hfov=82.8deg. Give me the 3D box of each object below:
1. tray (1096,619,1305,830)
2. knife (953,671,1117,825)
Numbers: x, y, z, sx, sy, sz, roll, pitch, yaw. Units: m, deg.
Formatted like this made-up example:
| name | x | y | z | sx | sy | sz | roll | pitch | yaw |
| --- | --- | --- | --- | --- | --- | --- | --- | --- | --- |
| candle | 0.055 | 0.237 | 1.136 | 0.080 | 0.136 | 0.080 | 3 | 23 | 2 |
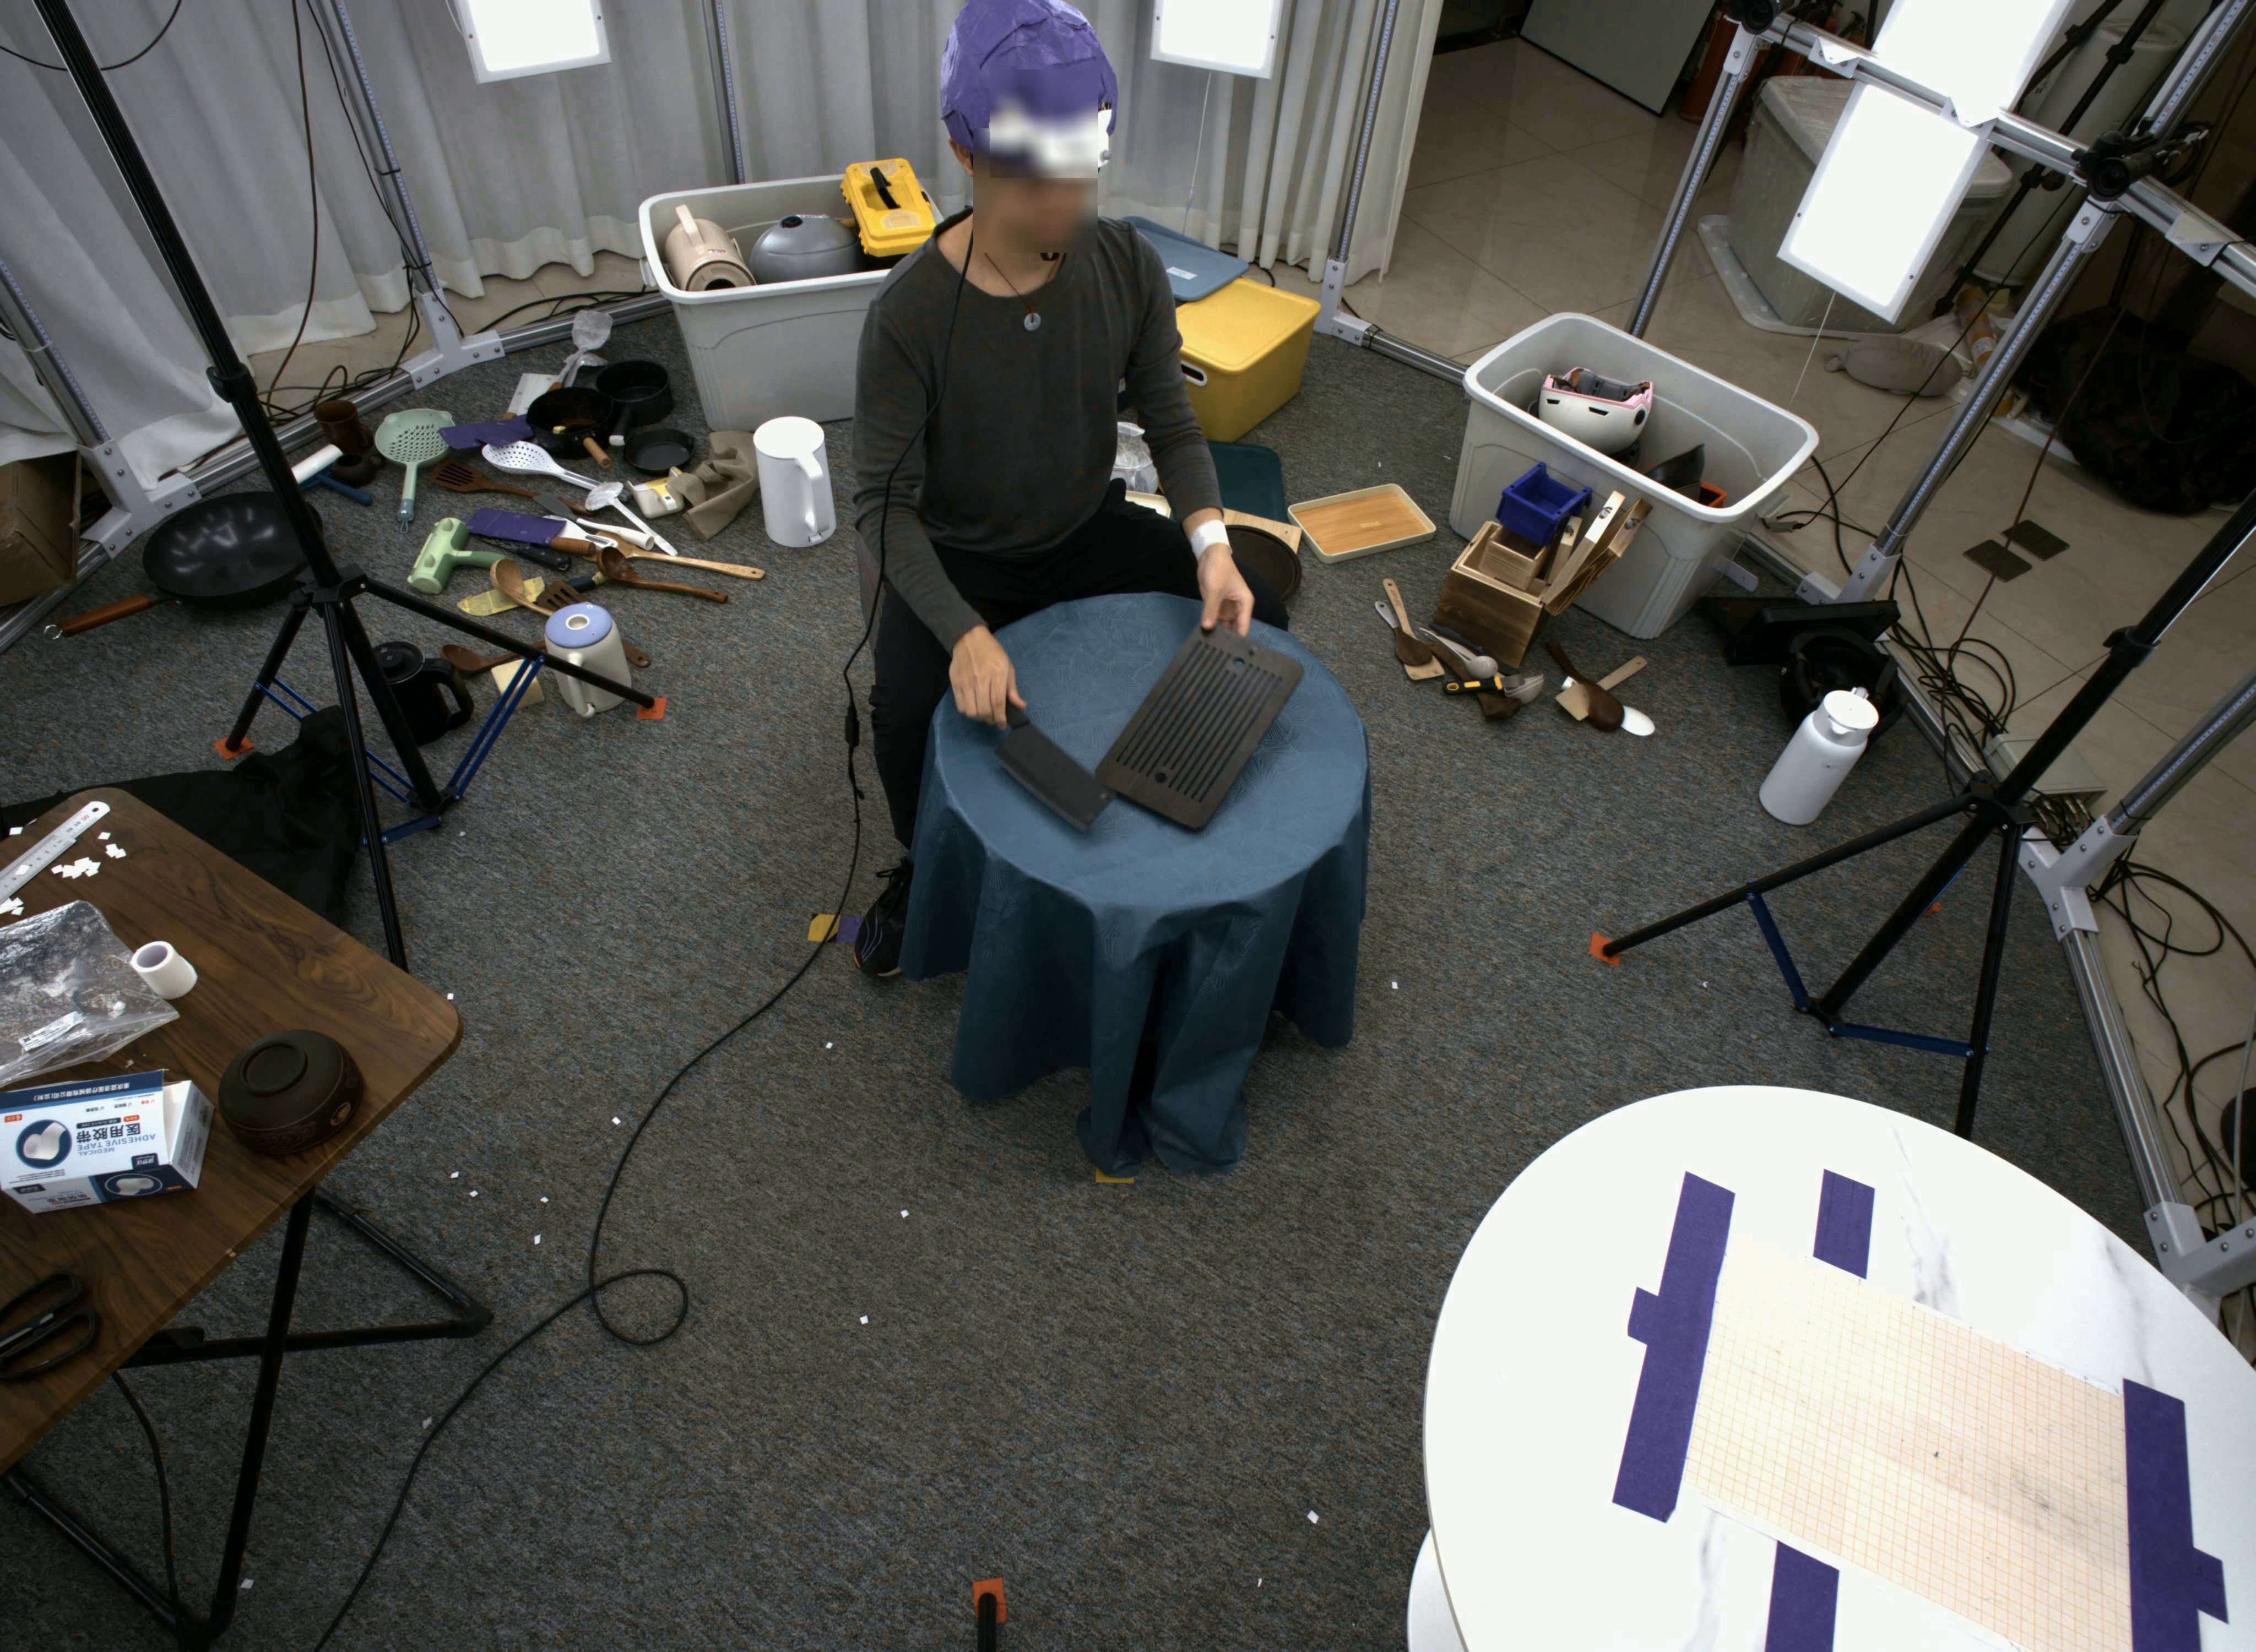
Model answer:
| name | x | y | z | sx | sy | sz | roll | pitch | yaw |
| --- | --- | --- | --- | --- | --- | --- | --- | --- | --- |
| tray | 0.101 | -0.142 | 1.745 | 0.171 | 0.018 | 0.310 | 25 | 64 | 18 |
| knife | -0.133 | -0.110 | 1.699 | 0.081 | 0.020 | 0.307 | -45 | 63 | -2 |
